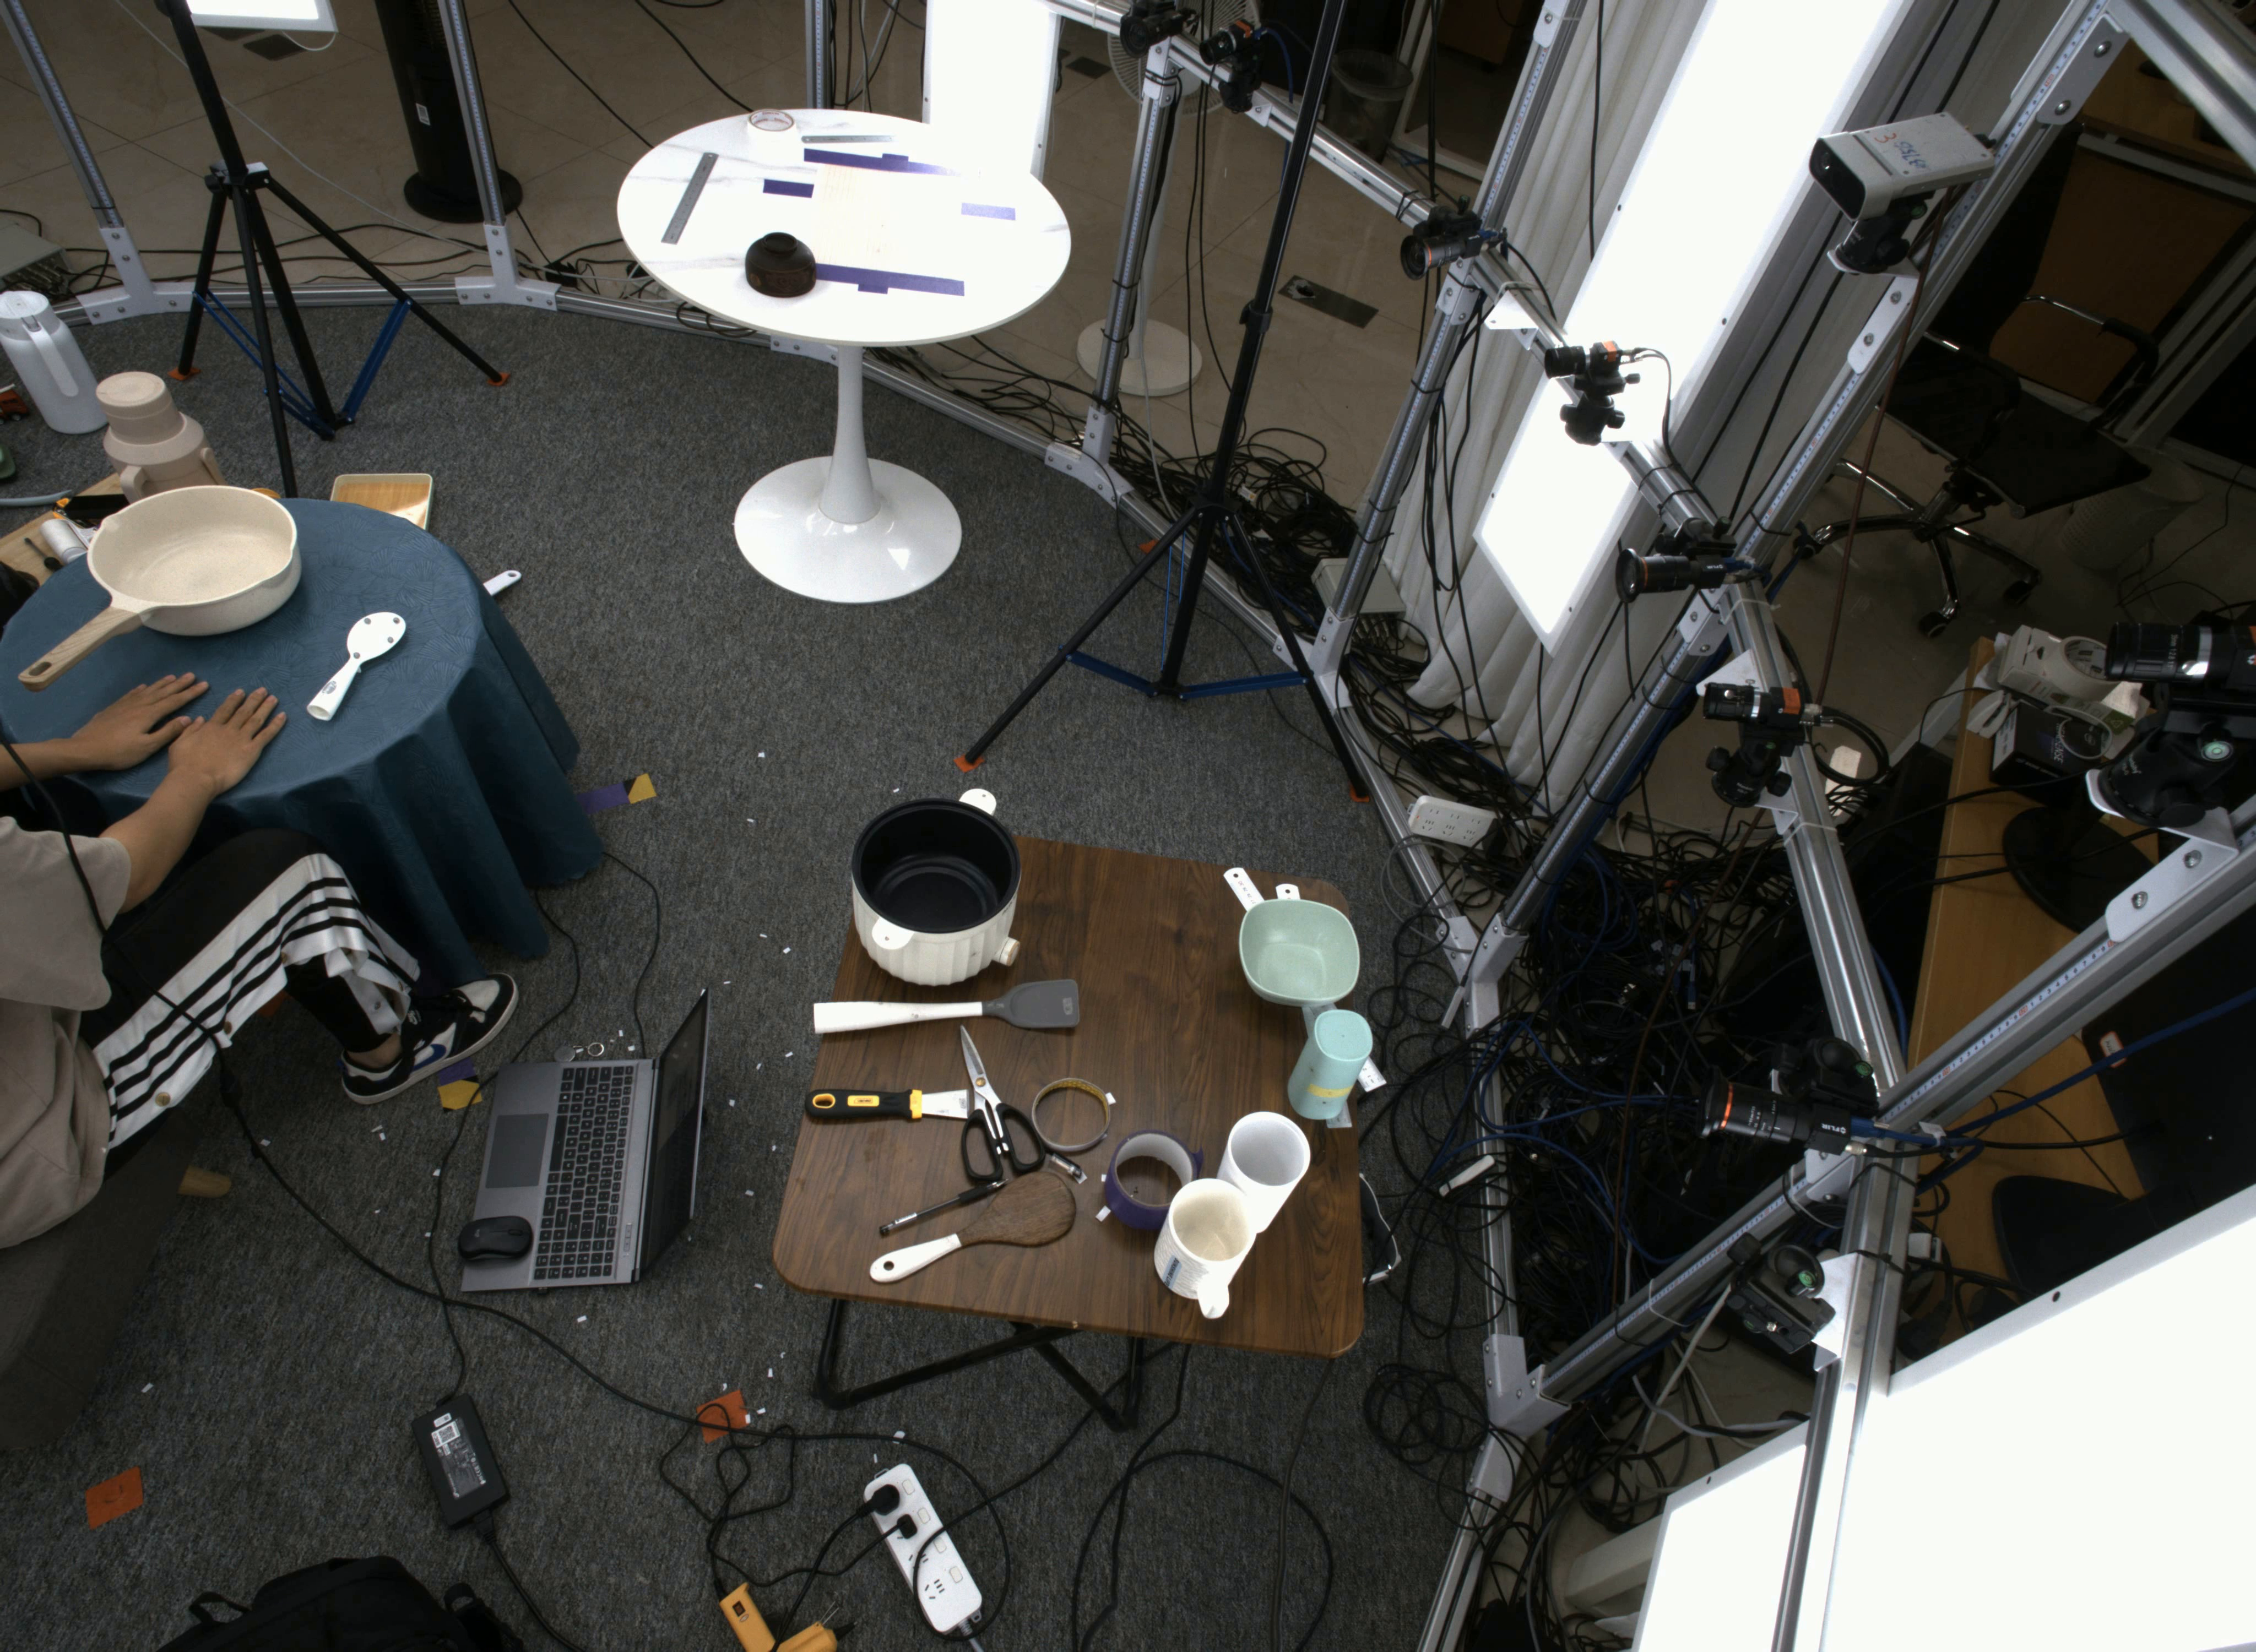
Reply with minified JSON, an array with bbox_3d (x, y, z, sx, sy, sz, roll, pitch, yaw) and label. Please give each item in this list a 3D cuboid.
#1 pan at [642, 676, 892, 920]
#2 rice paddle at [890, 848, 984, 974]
[{"bbox_3d":[-0.483,-0.021,1.677,0.260,0.104,0.432,28,53,6],"label":"pan"},{"bbox_3d":[-0.247,0.101,1.681,0.068,0.030,0.203,24,52,4],"label":"rice paddle"}]
